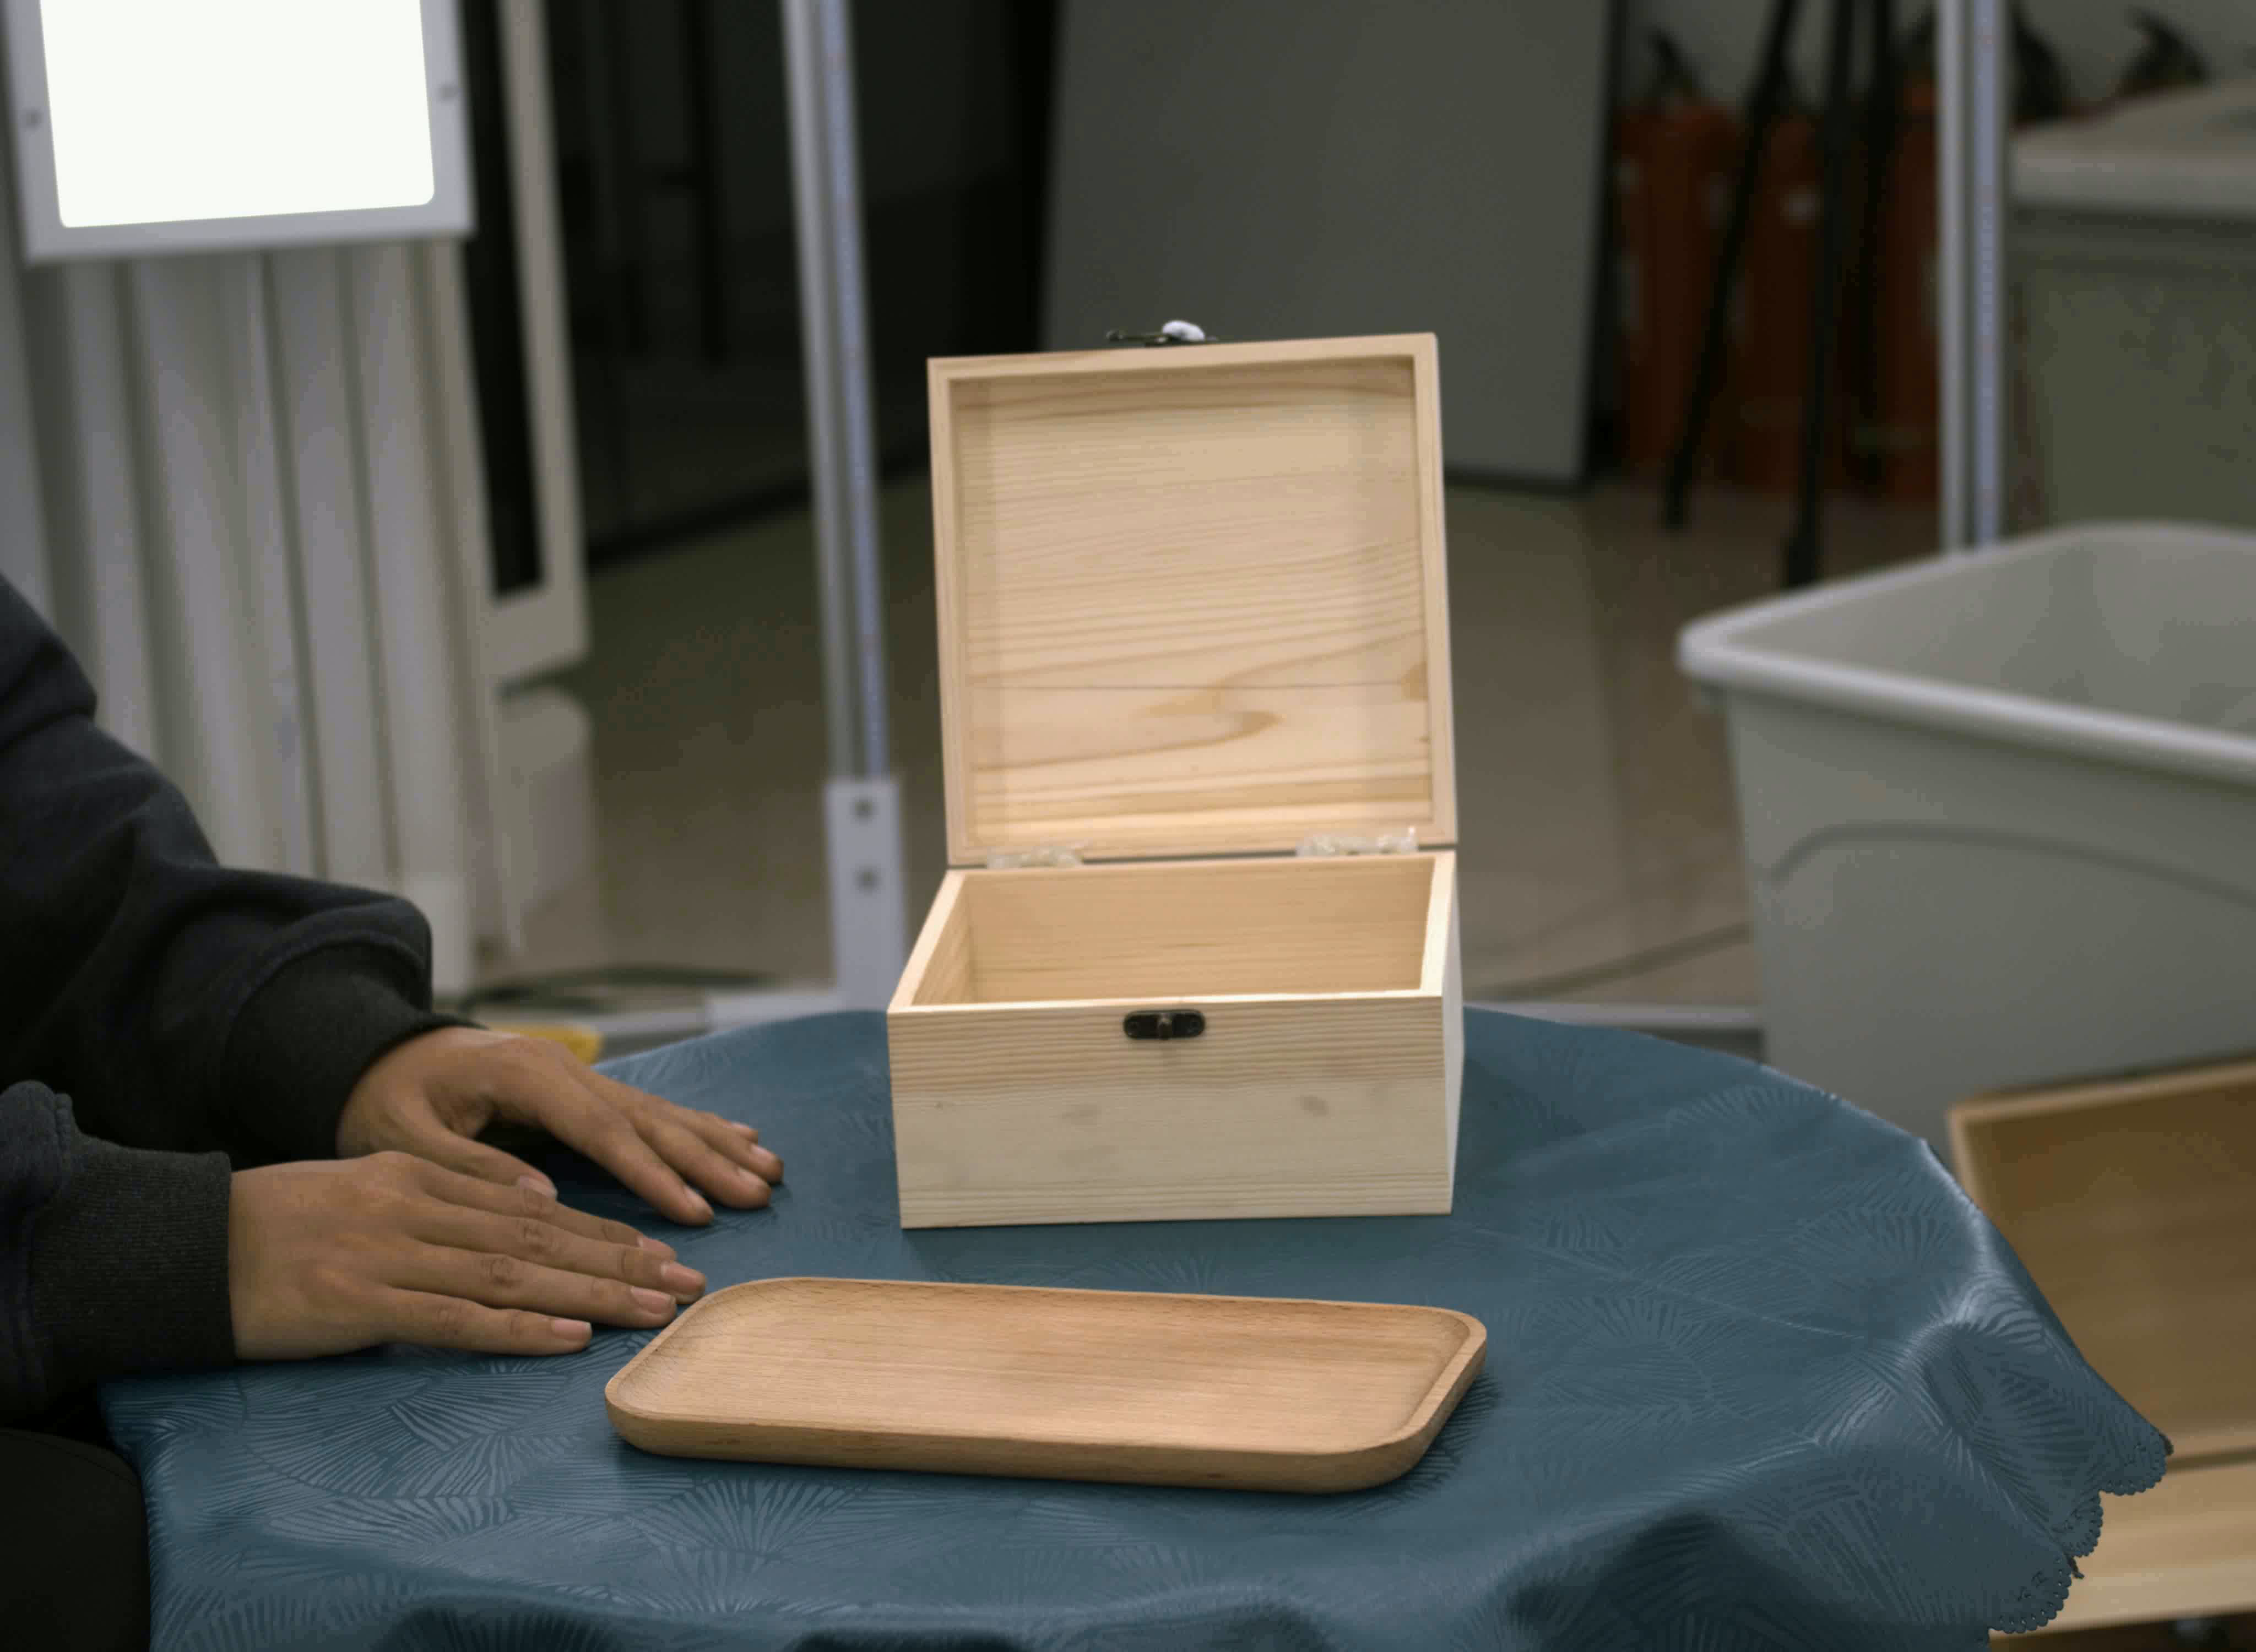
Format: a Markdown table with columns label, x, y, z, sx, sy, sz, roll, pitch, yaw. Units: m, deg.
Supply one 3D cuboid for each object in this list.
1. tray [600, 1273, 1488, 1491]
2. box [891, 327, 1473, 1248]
| label | x | y | z | sx | sy | sz | roll | pitch | yaw |
| --- | --- | --- | --- | --- | --- | --- | --- | --- | --- |
| tray | -0.024 | 0.161 | 1.572 | 0.250 | 0.023 | 0.129 | 0 | 11 | 20 |
| box | 0.016 | -0.020 | 1.827 | 0.180 | 0.256 | 0.265 | -5 | 12 | 6 |
